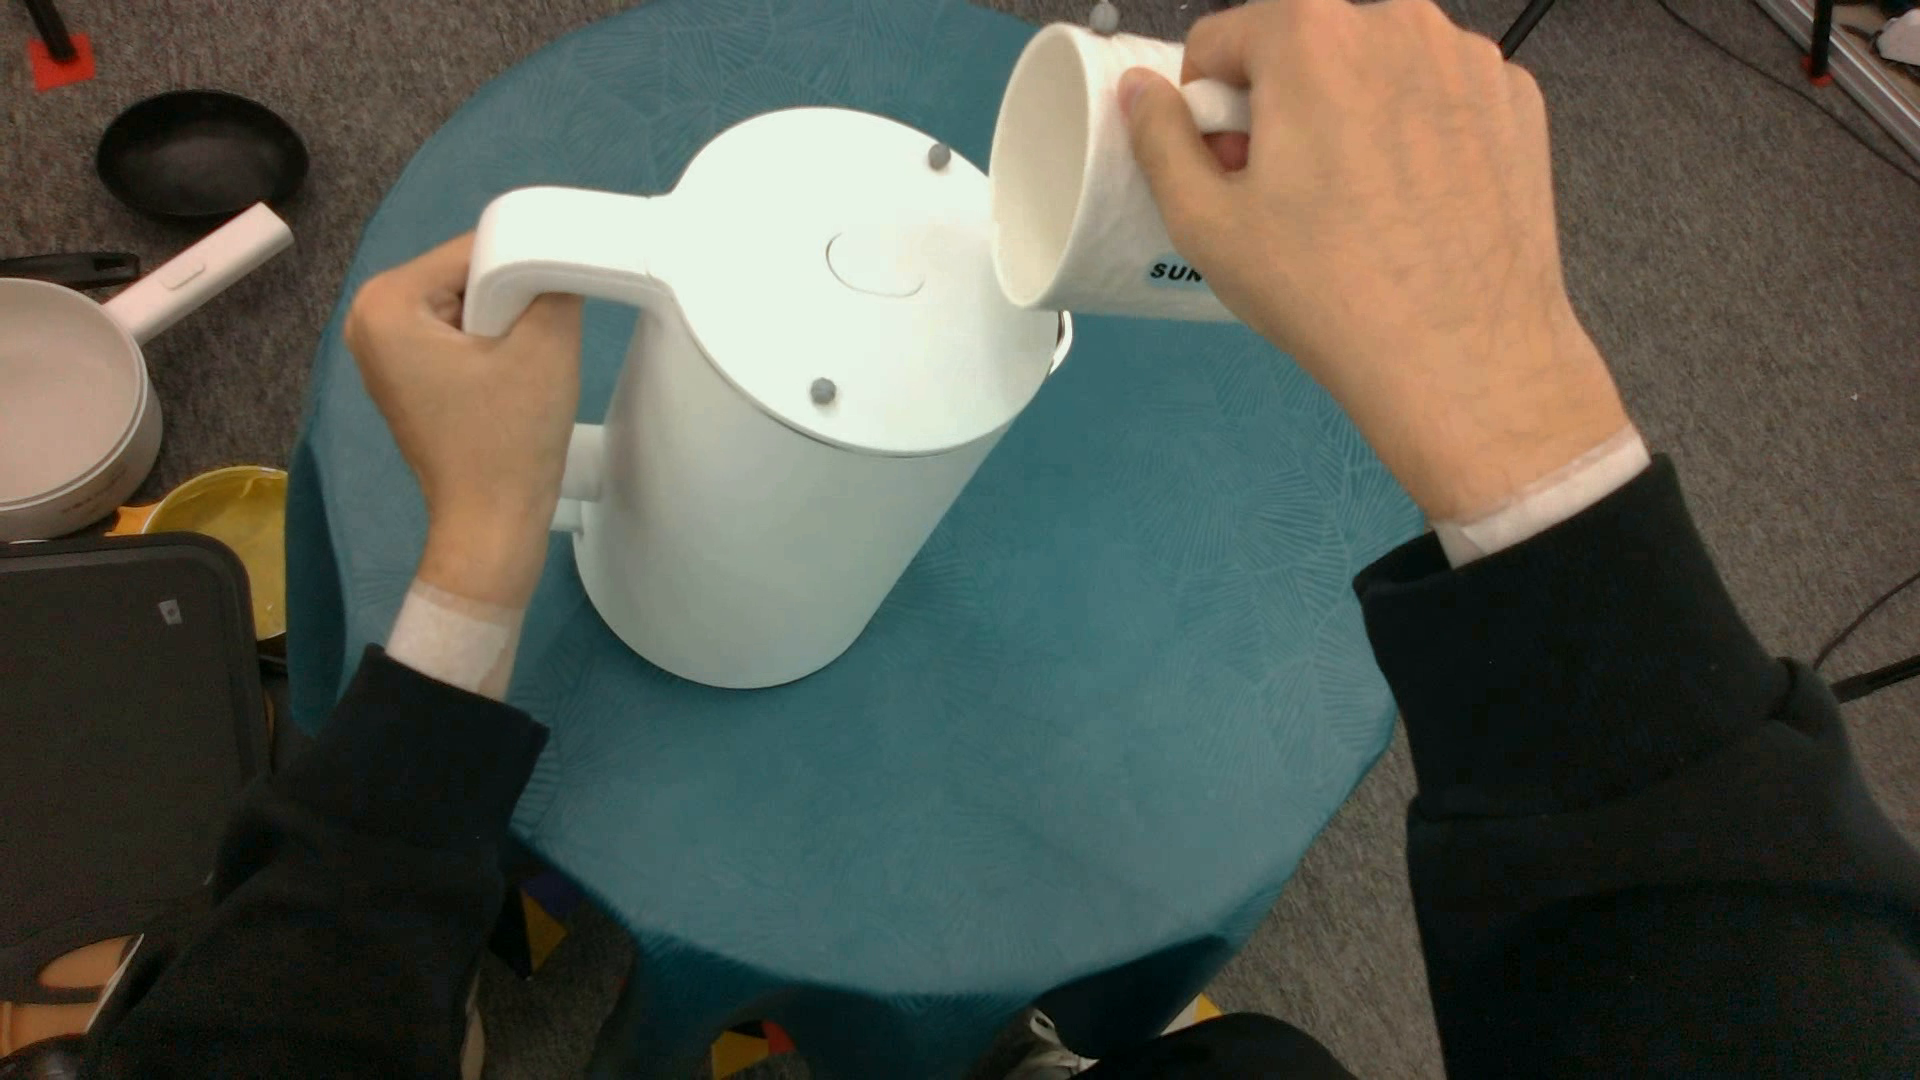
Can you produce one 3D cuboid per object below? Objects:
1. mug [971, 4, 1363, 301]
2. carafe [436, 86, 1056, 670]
[{"bbox_3d":[0.070,-0.123,0.430,0.102,0.118,0.085,0,88,-19],"label":"mug"},{"bbox_3d":[-0.101,-0.059,0.568,0.213,0.239,0.152,6,62,-22],"label":"carafe"}]
